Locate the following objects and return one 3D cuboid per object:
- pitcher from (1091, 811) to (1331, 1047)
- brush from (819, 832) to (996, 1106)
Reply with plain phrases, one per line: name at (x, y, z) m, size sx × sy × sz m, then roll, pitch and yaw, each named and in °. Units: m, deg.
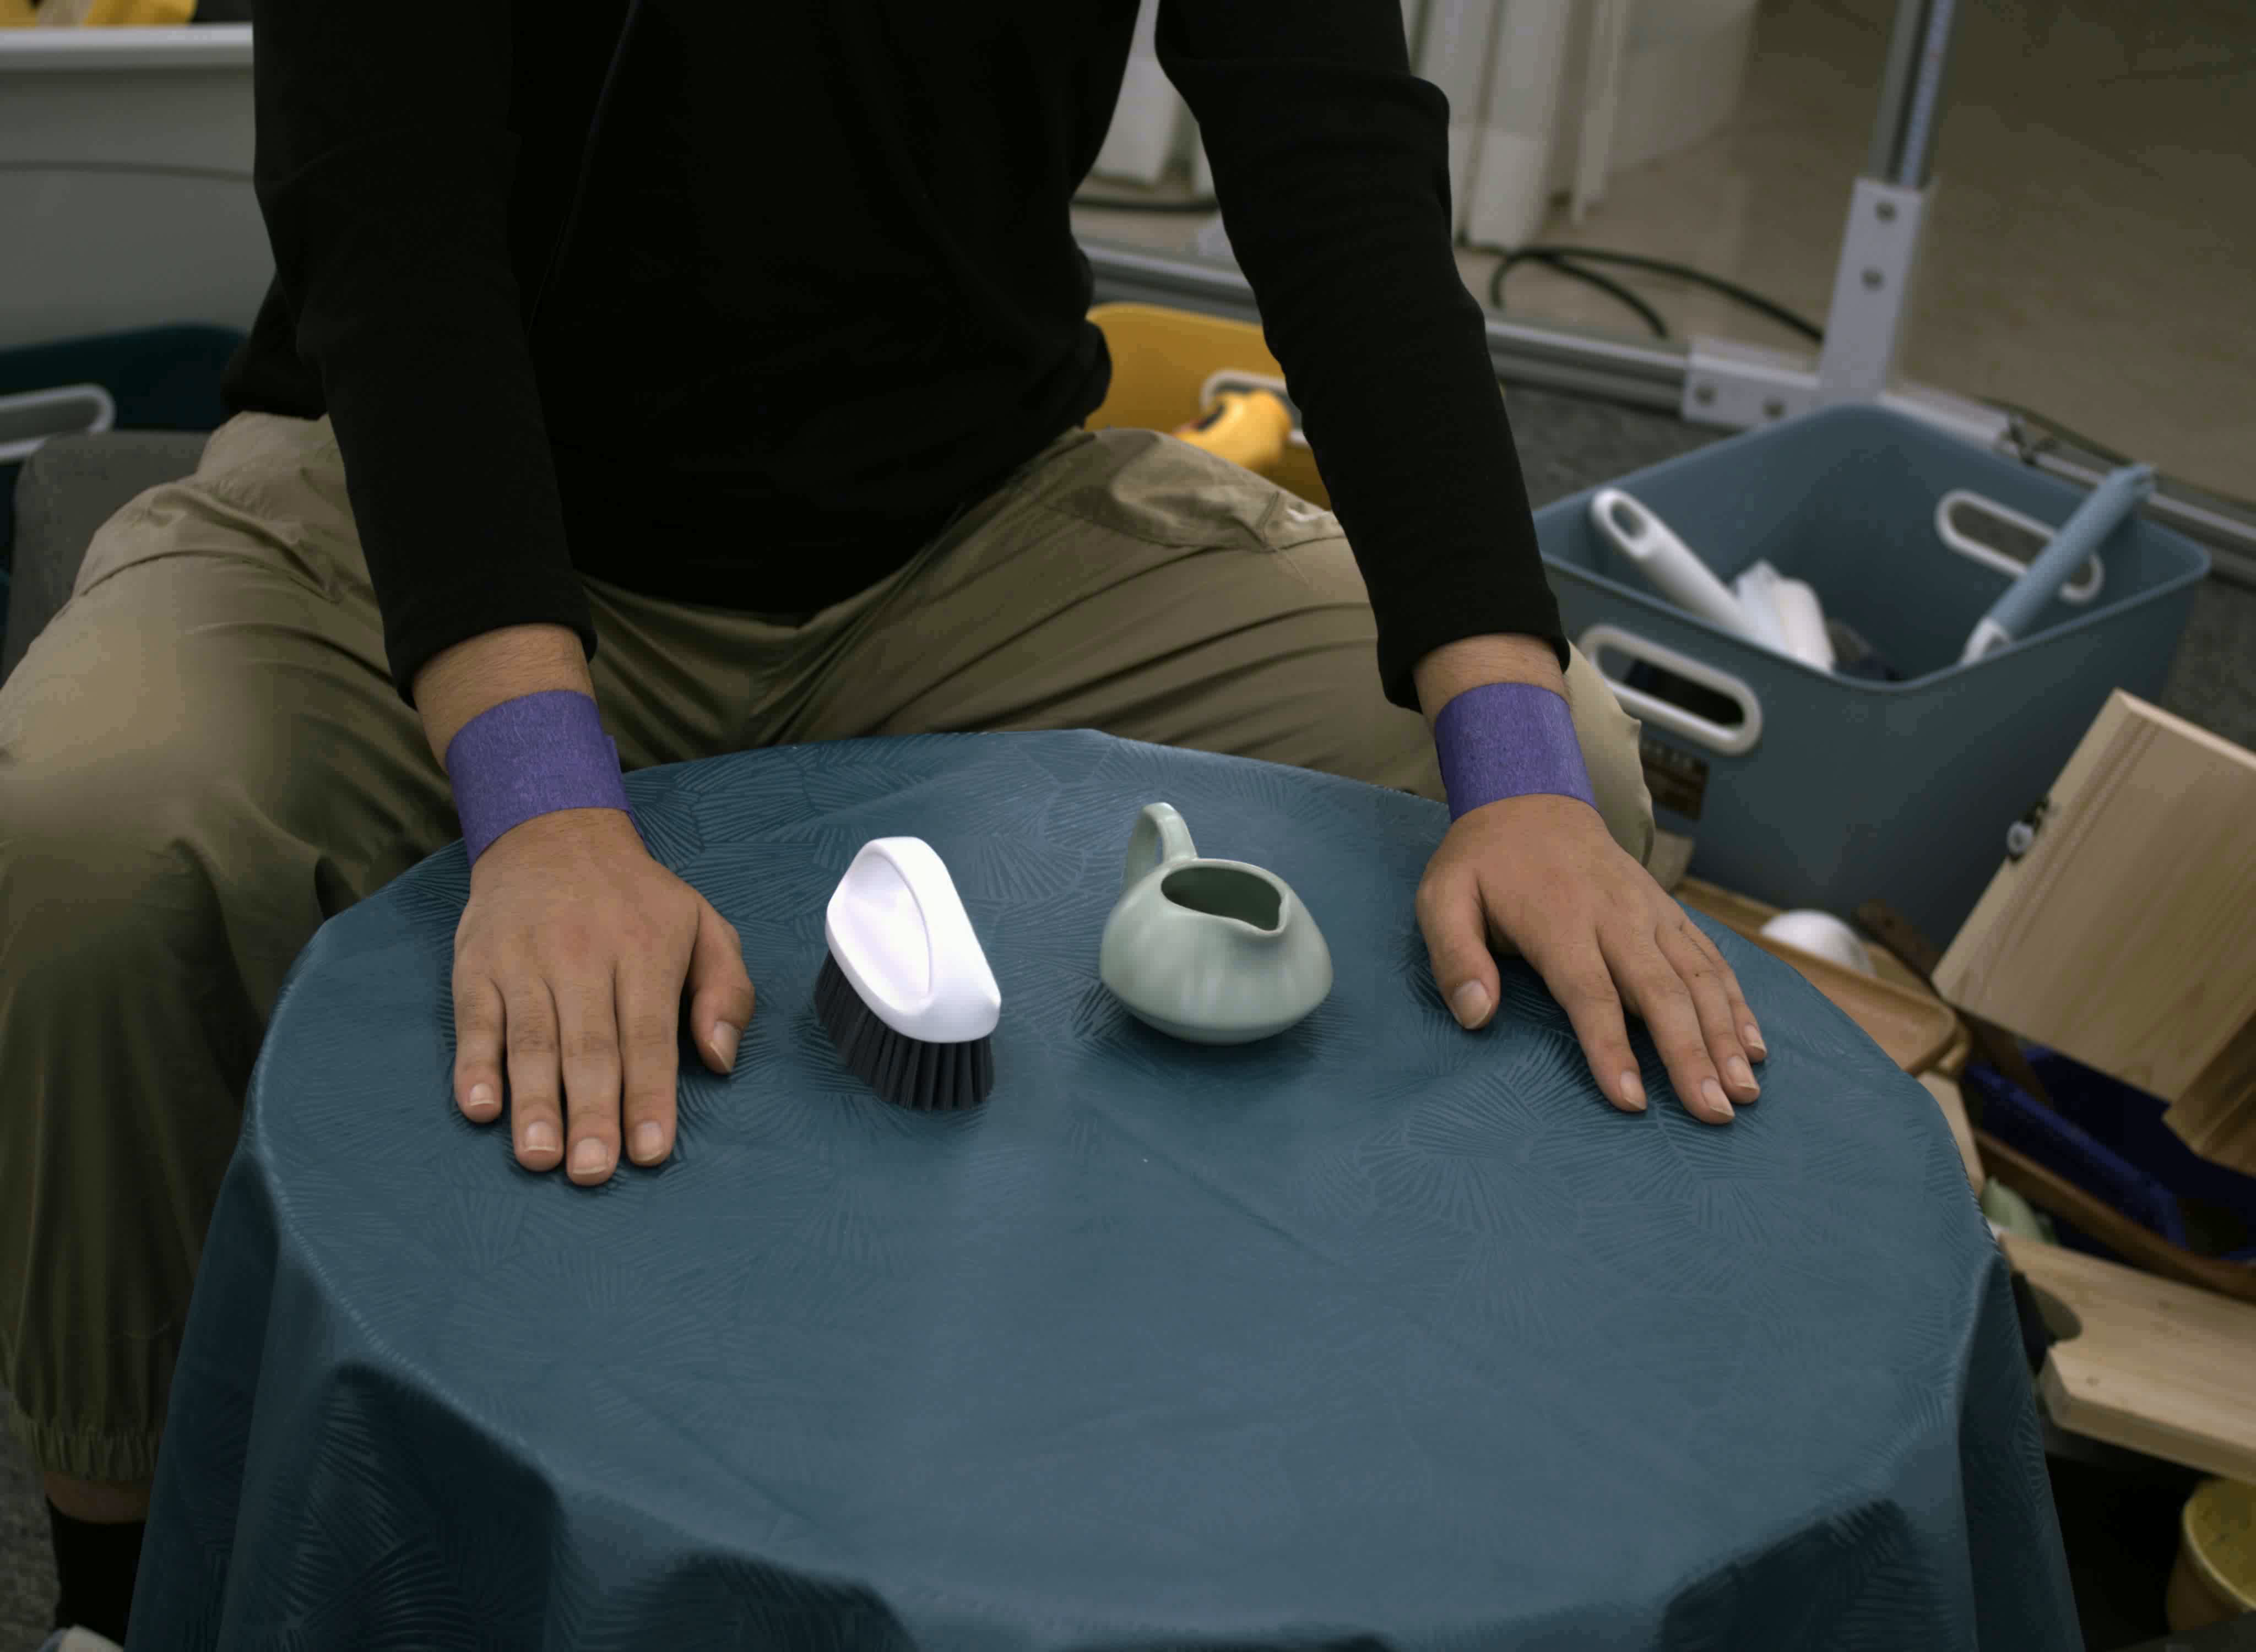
pitcher at (0.025, 0.038, 1.914) m, size 0.085 × 0.060 × 0.109 m, roll -7°, pitch 27°, yaw -27°
brush at (-0.076, 0.043, 1.860) m, size 0.050 × 0.072 × 0.100 m, roll -3°, pitch 29°, yaw -19°
